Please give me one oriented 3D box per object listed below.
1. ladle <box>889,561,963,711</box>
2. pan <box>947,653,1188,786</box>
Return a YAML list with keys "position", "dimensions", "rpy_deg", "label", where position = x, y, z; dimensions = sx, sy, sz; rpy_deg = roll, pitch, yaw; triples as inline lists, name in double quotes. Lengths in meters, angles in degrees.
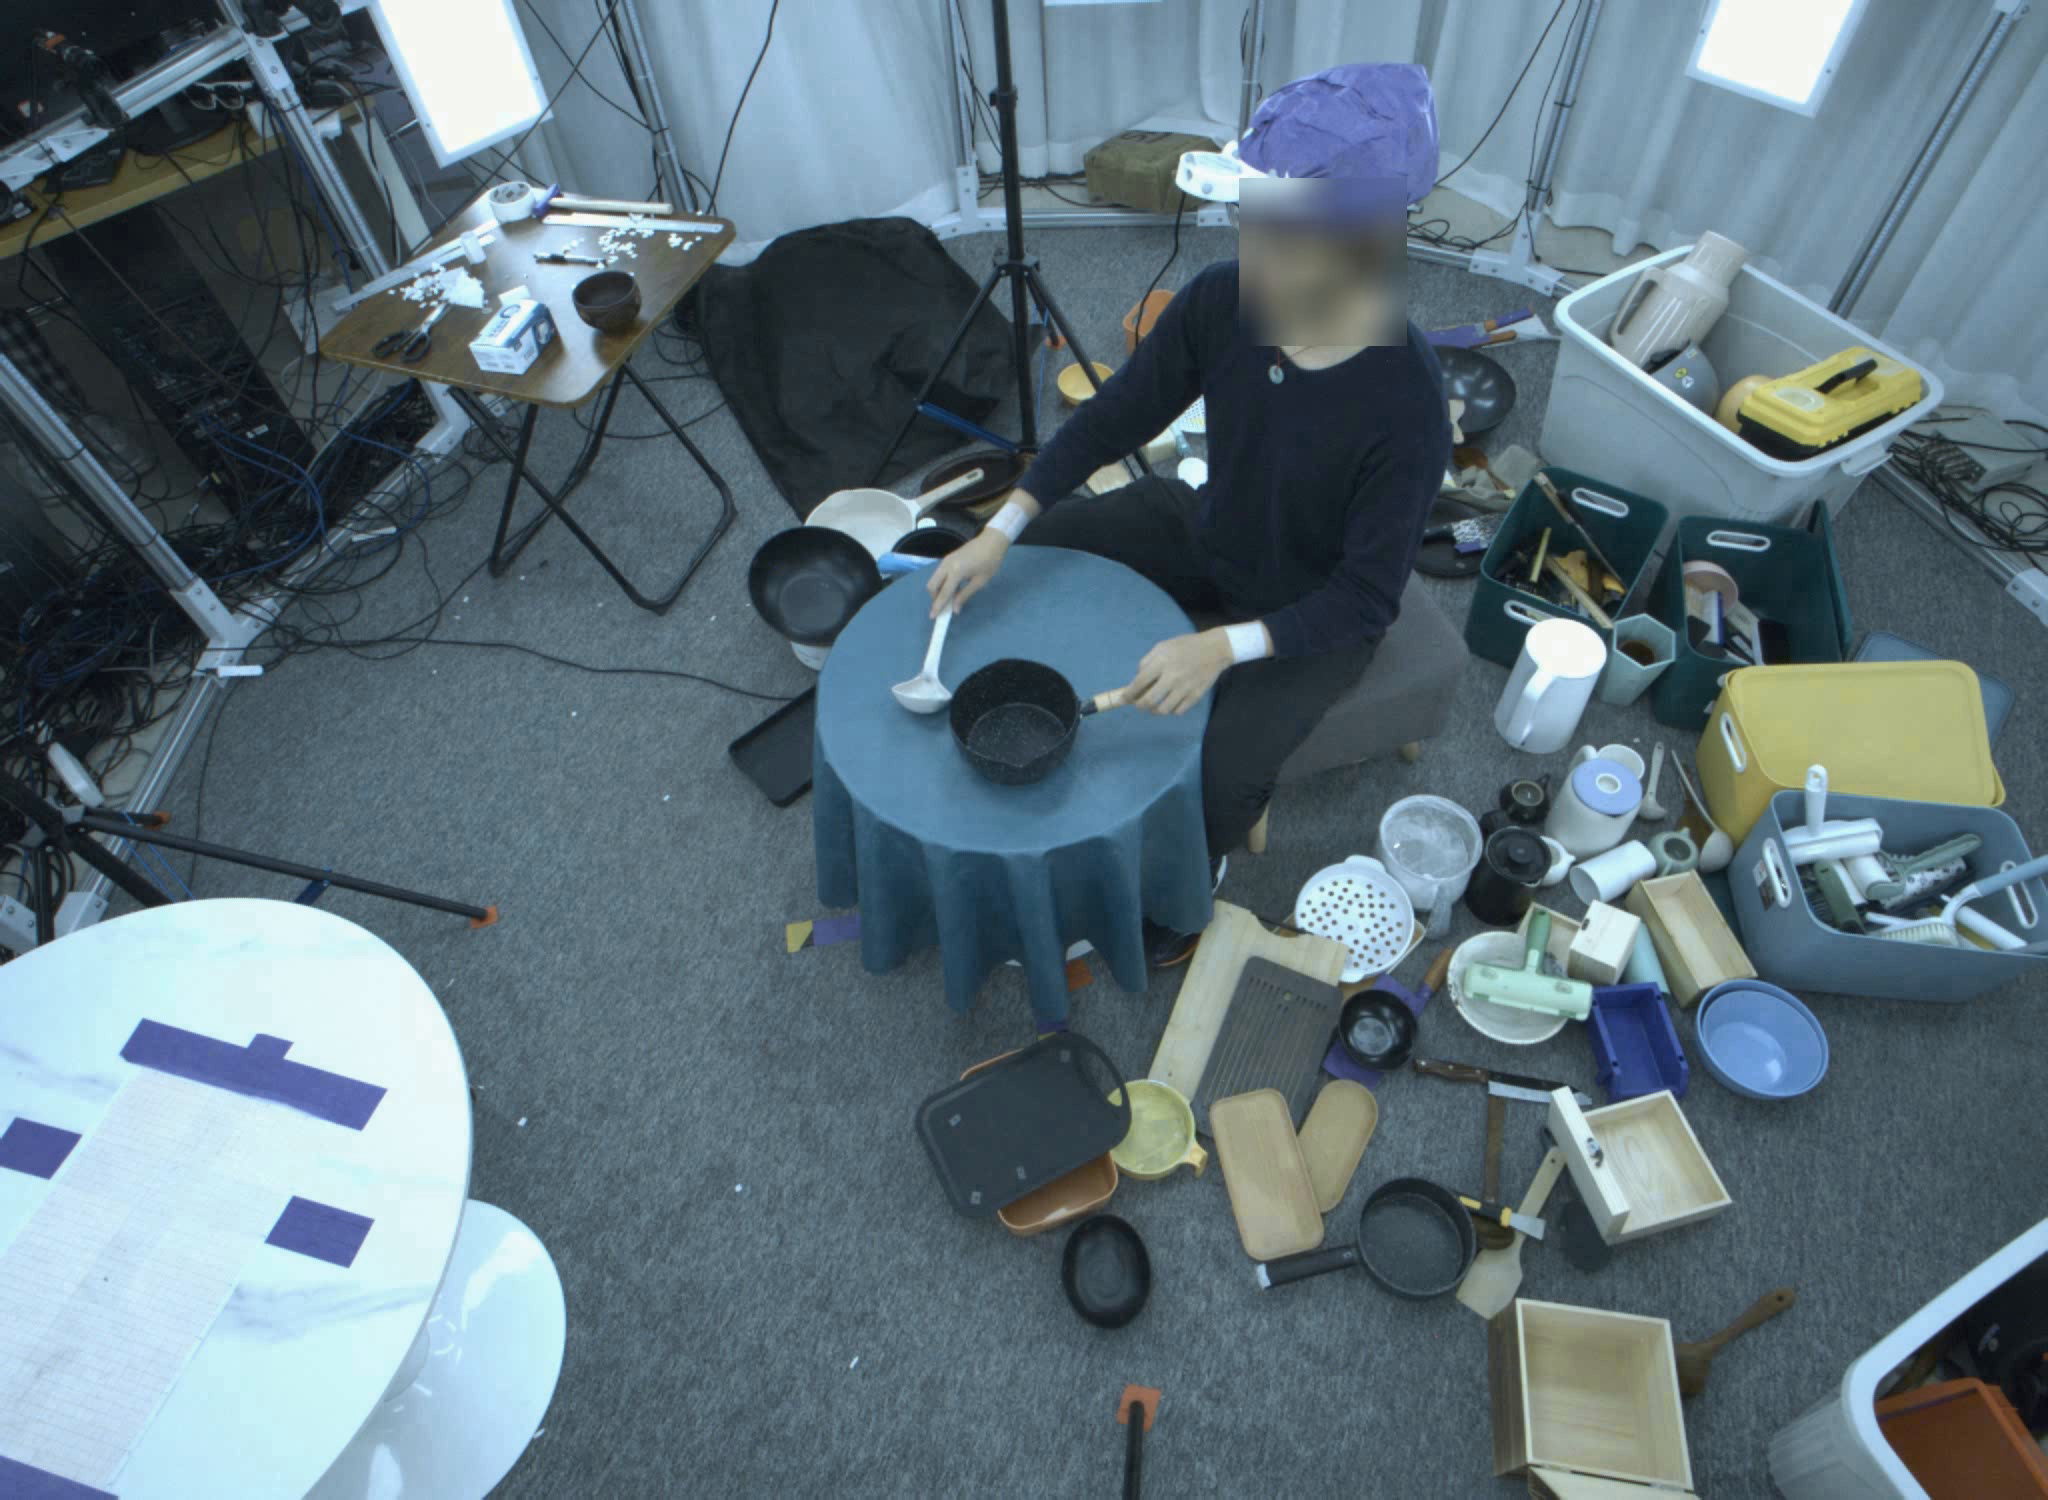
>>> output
- position: [-0.134, -0.184, 1.848]
  dimensions: [0.089, 0.070, 0.273]
  rpy_deg: [9, 69, 9]
  label: "ladle"
- position: [0.064, -0.052, 1.755]
  dimensions: [0.343, 0.109, 0.204]
  rpy_deg: [-9, 54, -3]
  label: "pan"
